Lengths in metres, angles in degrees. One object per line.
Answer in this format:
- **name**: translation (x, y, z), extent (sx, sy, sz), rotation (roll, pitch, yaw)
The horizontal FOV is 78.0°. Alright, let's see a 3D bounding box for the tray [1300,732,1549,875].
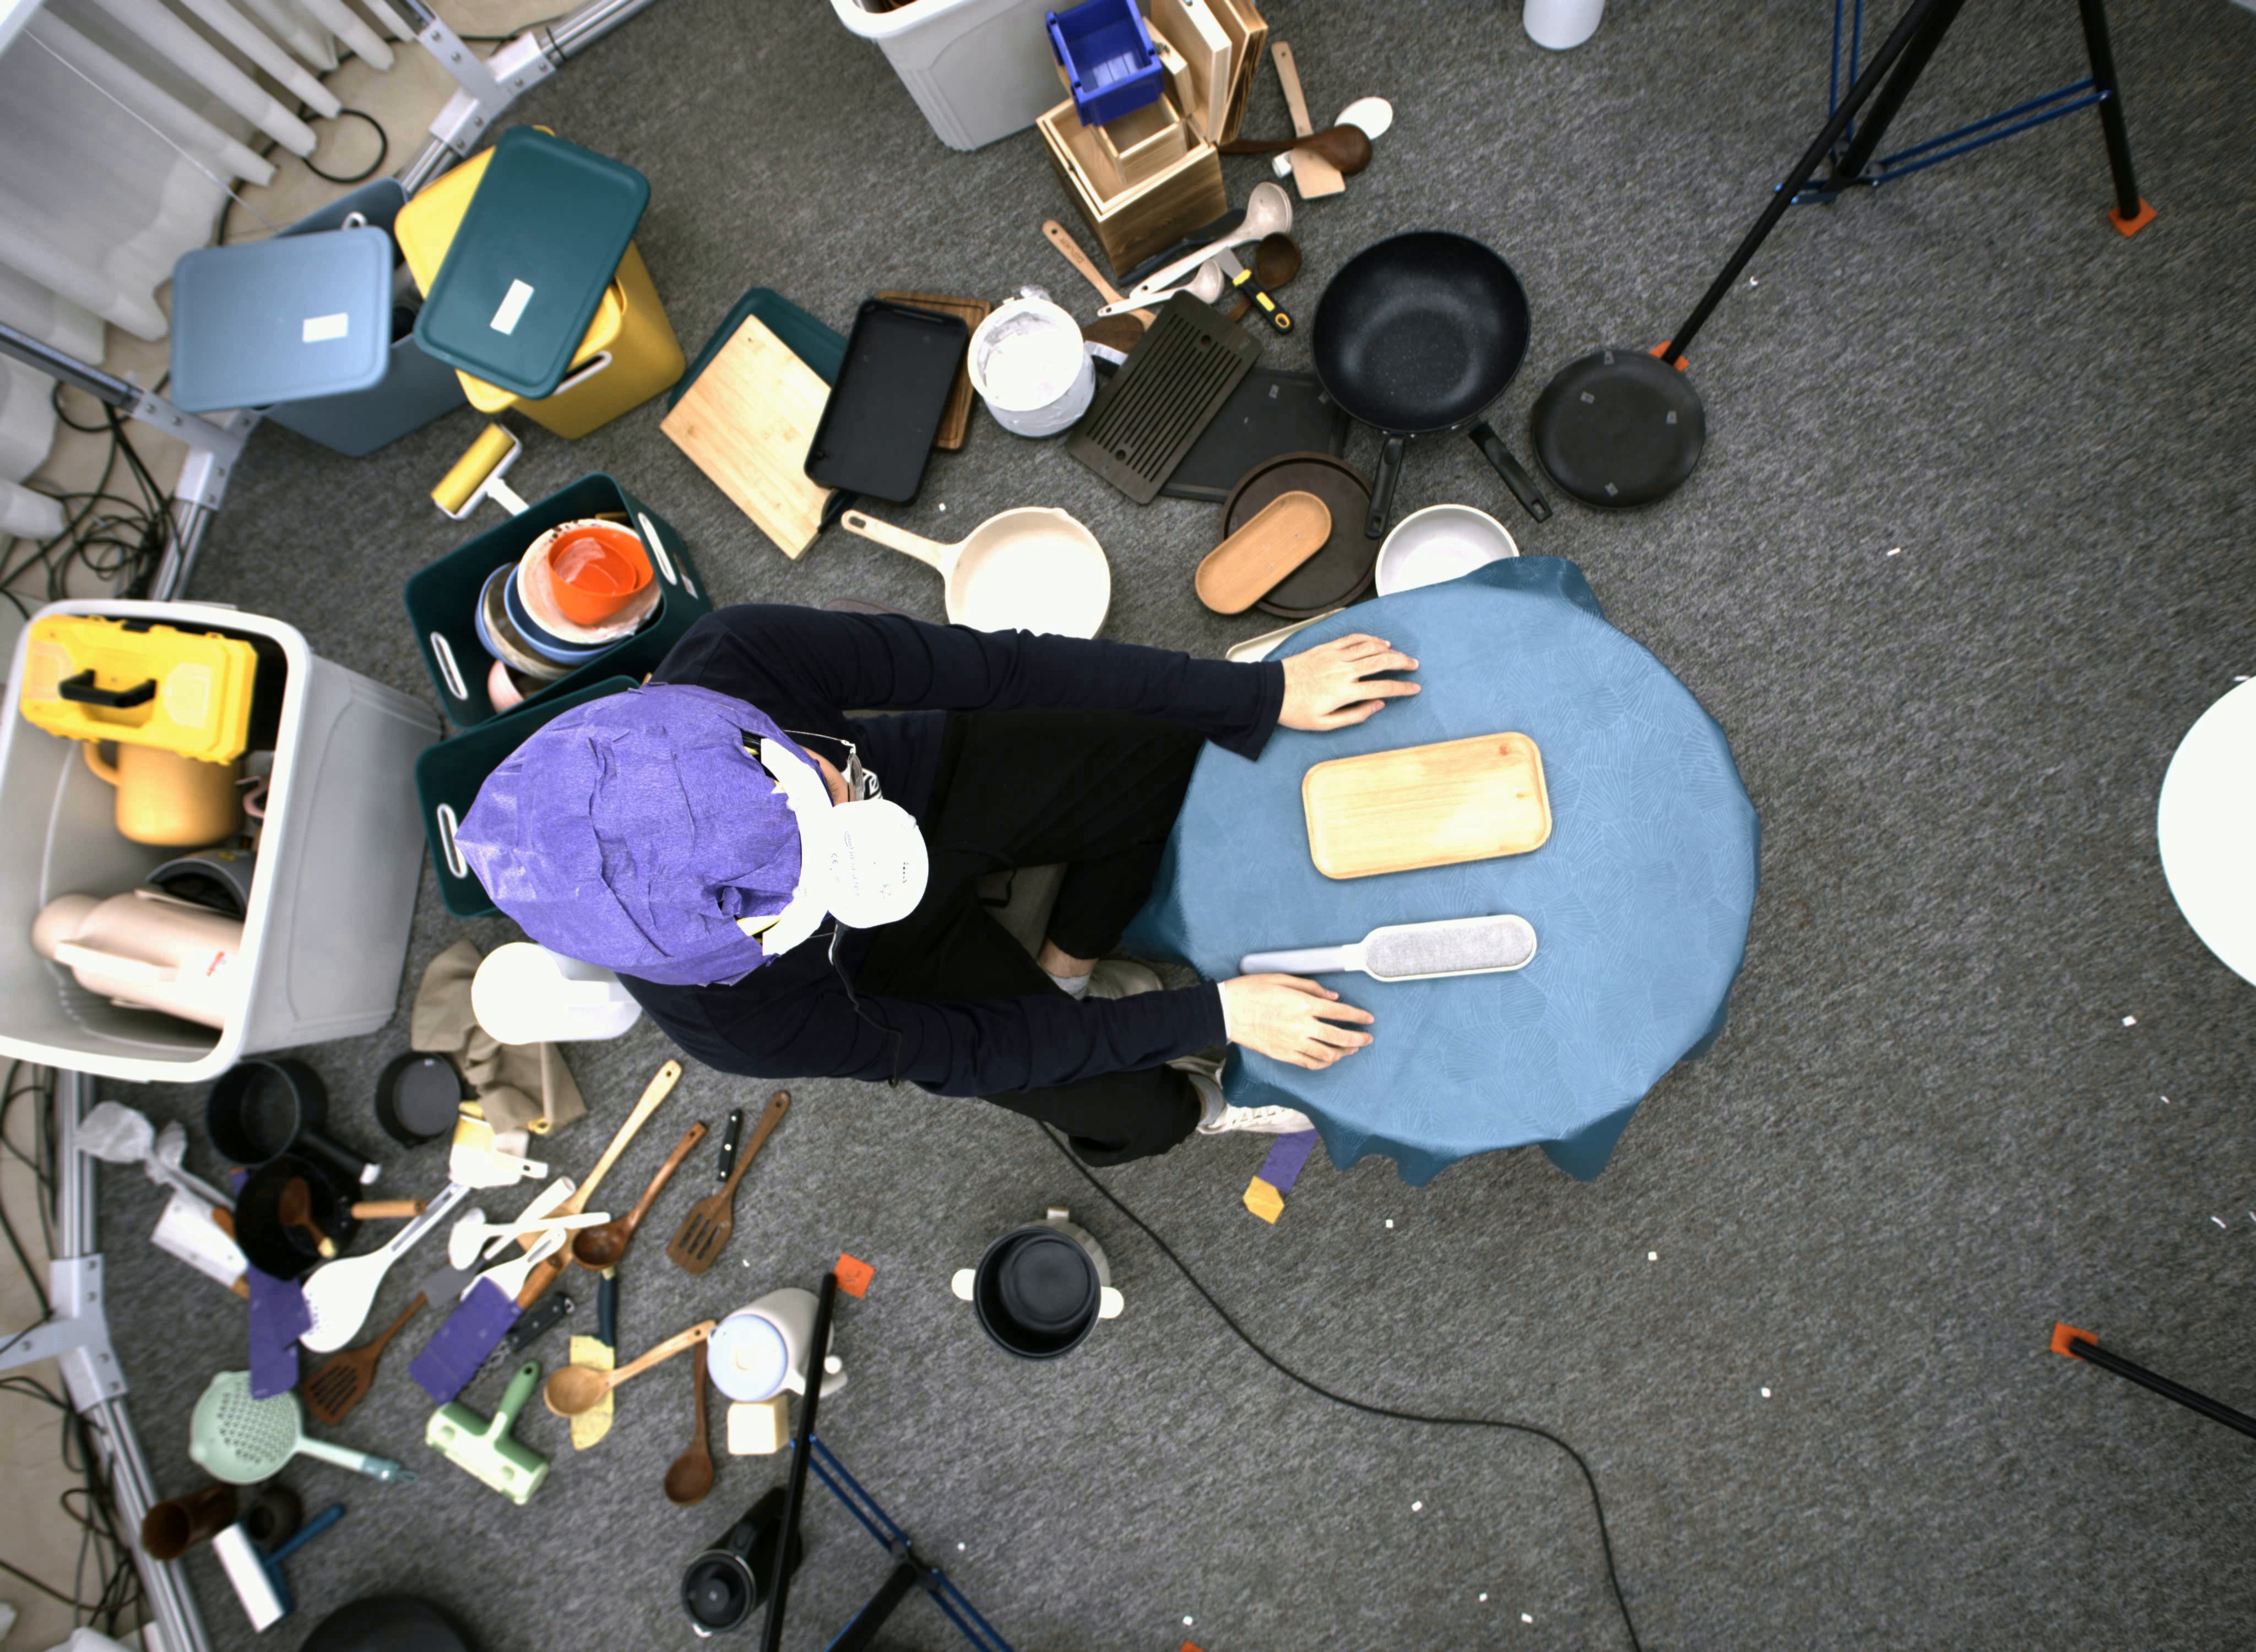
- **tray**: translation (0.310, -0.024, 1.449), extent (0.252, 0.023, 0.129), rotation (-7, 83, 11)

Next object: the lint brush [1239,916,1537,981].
- **lint brush**: translation (0.269, 0.130, 1.443), extent (0.310, 0.021, 0.060), rotation (-6, 90, 10)
